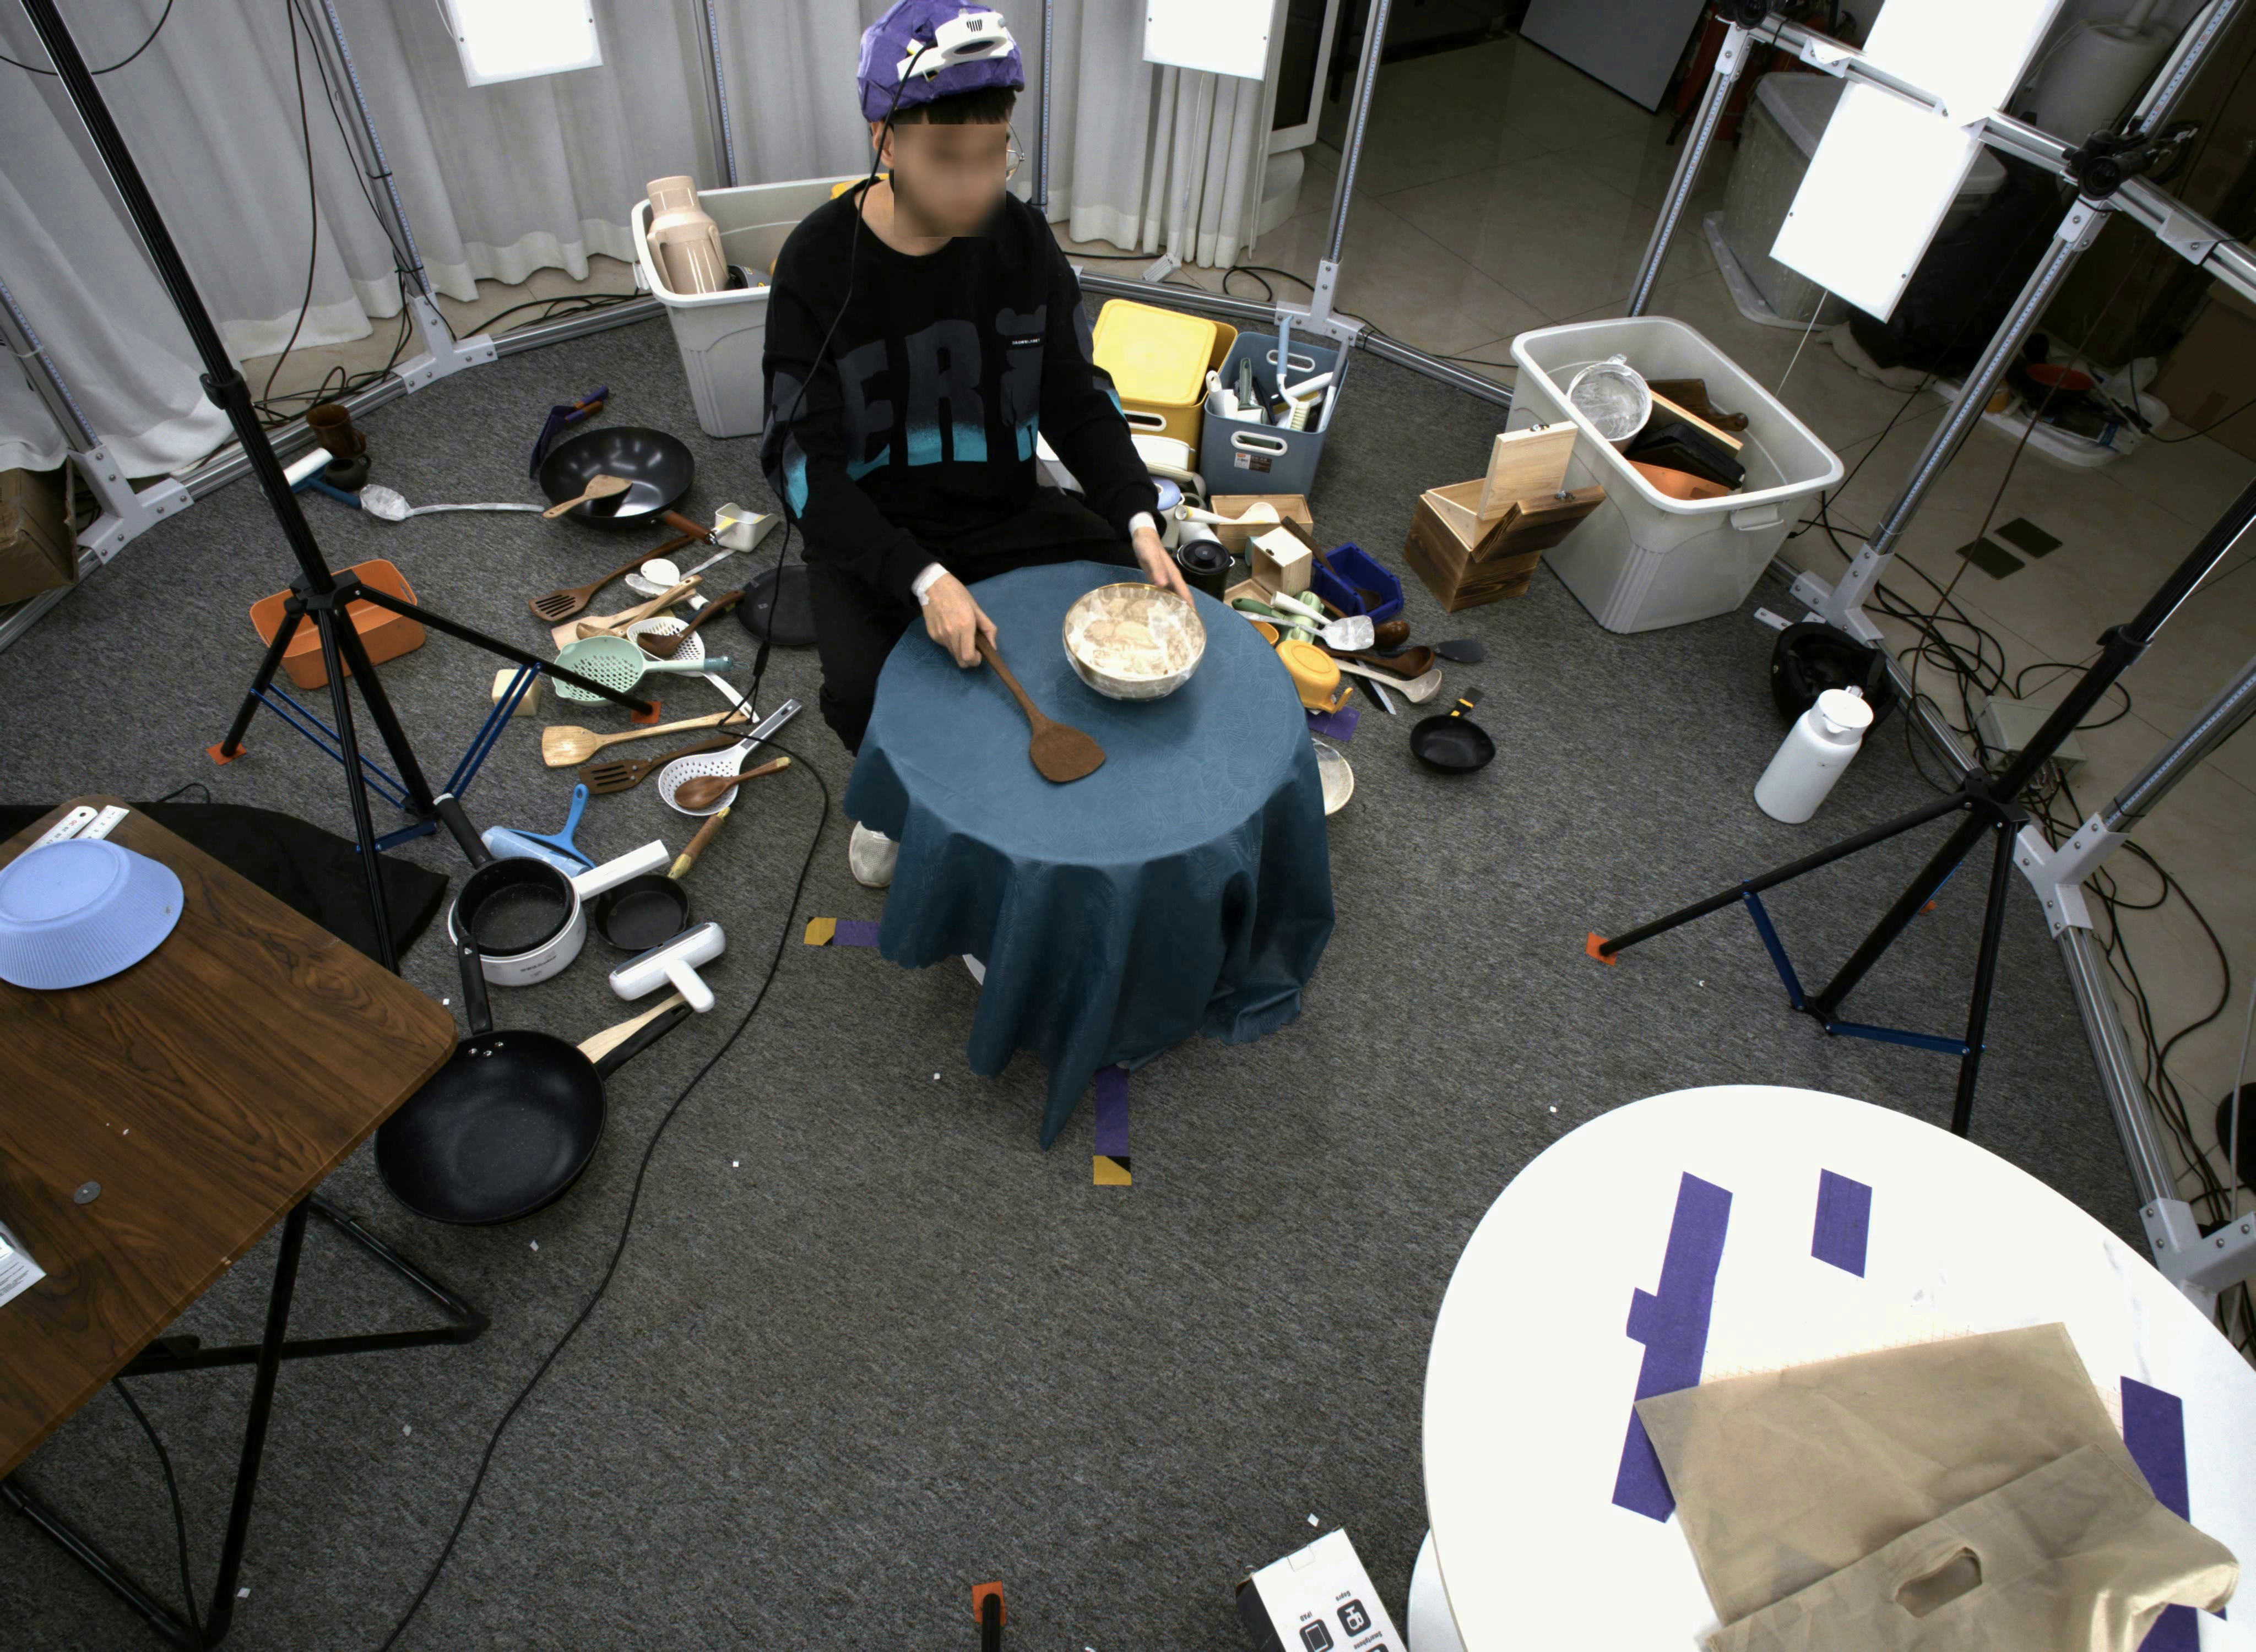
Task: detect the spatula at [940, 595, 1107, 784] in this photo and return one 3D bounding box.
[{"bbox_3d":[-0.166,-0.204,1.822,0.096,0.015,0.393,-25,61,-24],"label":"spatula"}]

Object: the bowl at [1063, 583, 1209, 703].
[{"bbox_3d":[0.010,-0.247,1.840,0.214,0.092,0.220,1,49,-1],"label":"bowl"}]
